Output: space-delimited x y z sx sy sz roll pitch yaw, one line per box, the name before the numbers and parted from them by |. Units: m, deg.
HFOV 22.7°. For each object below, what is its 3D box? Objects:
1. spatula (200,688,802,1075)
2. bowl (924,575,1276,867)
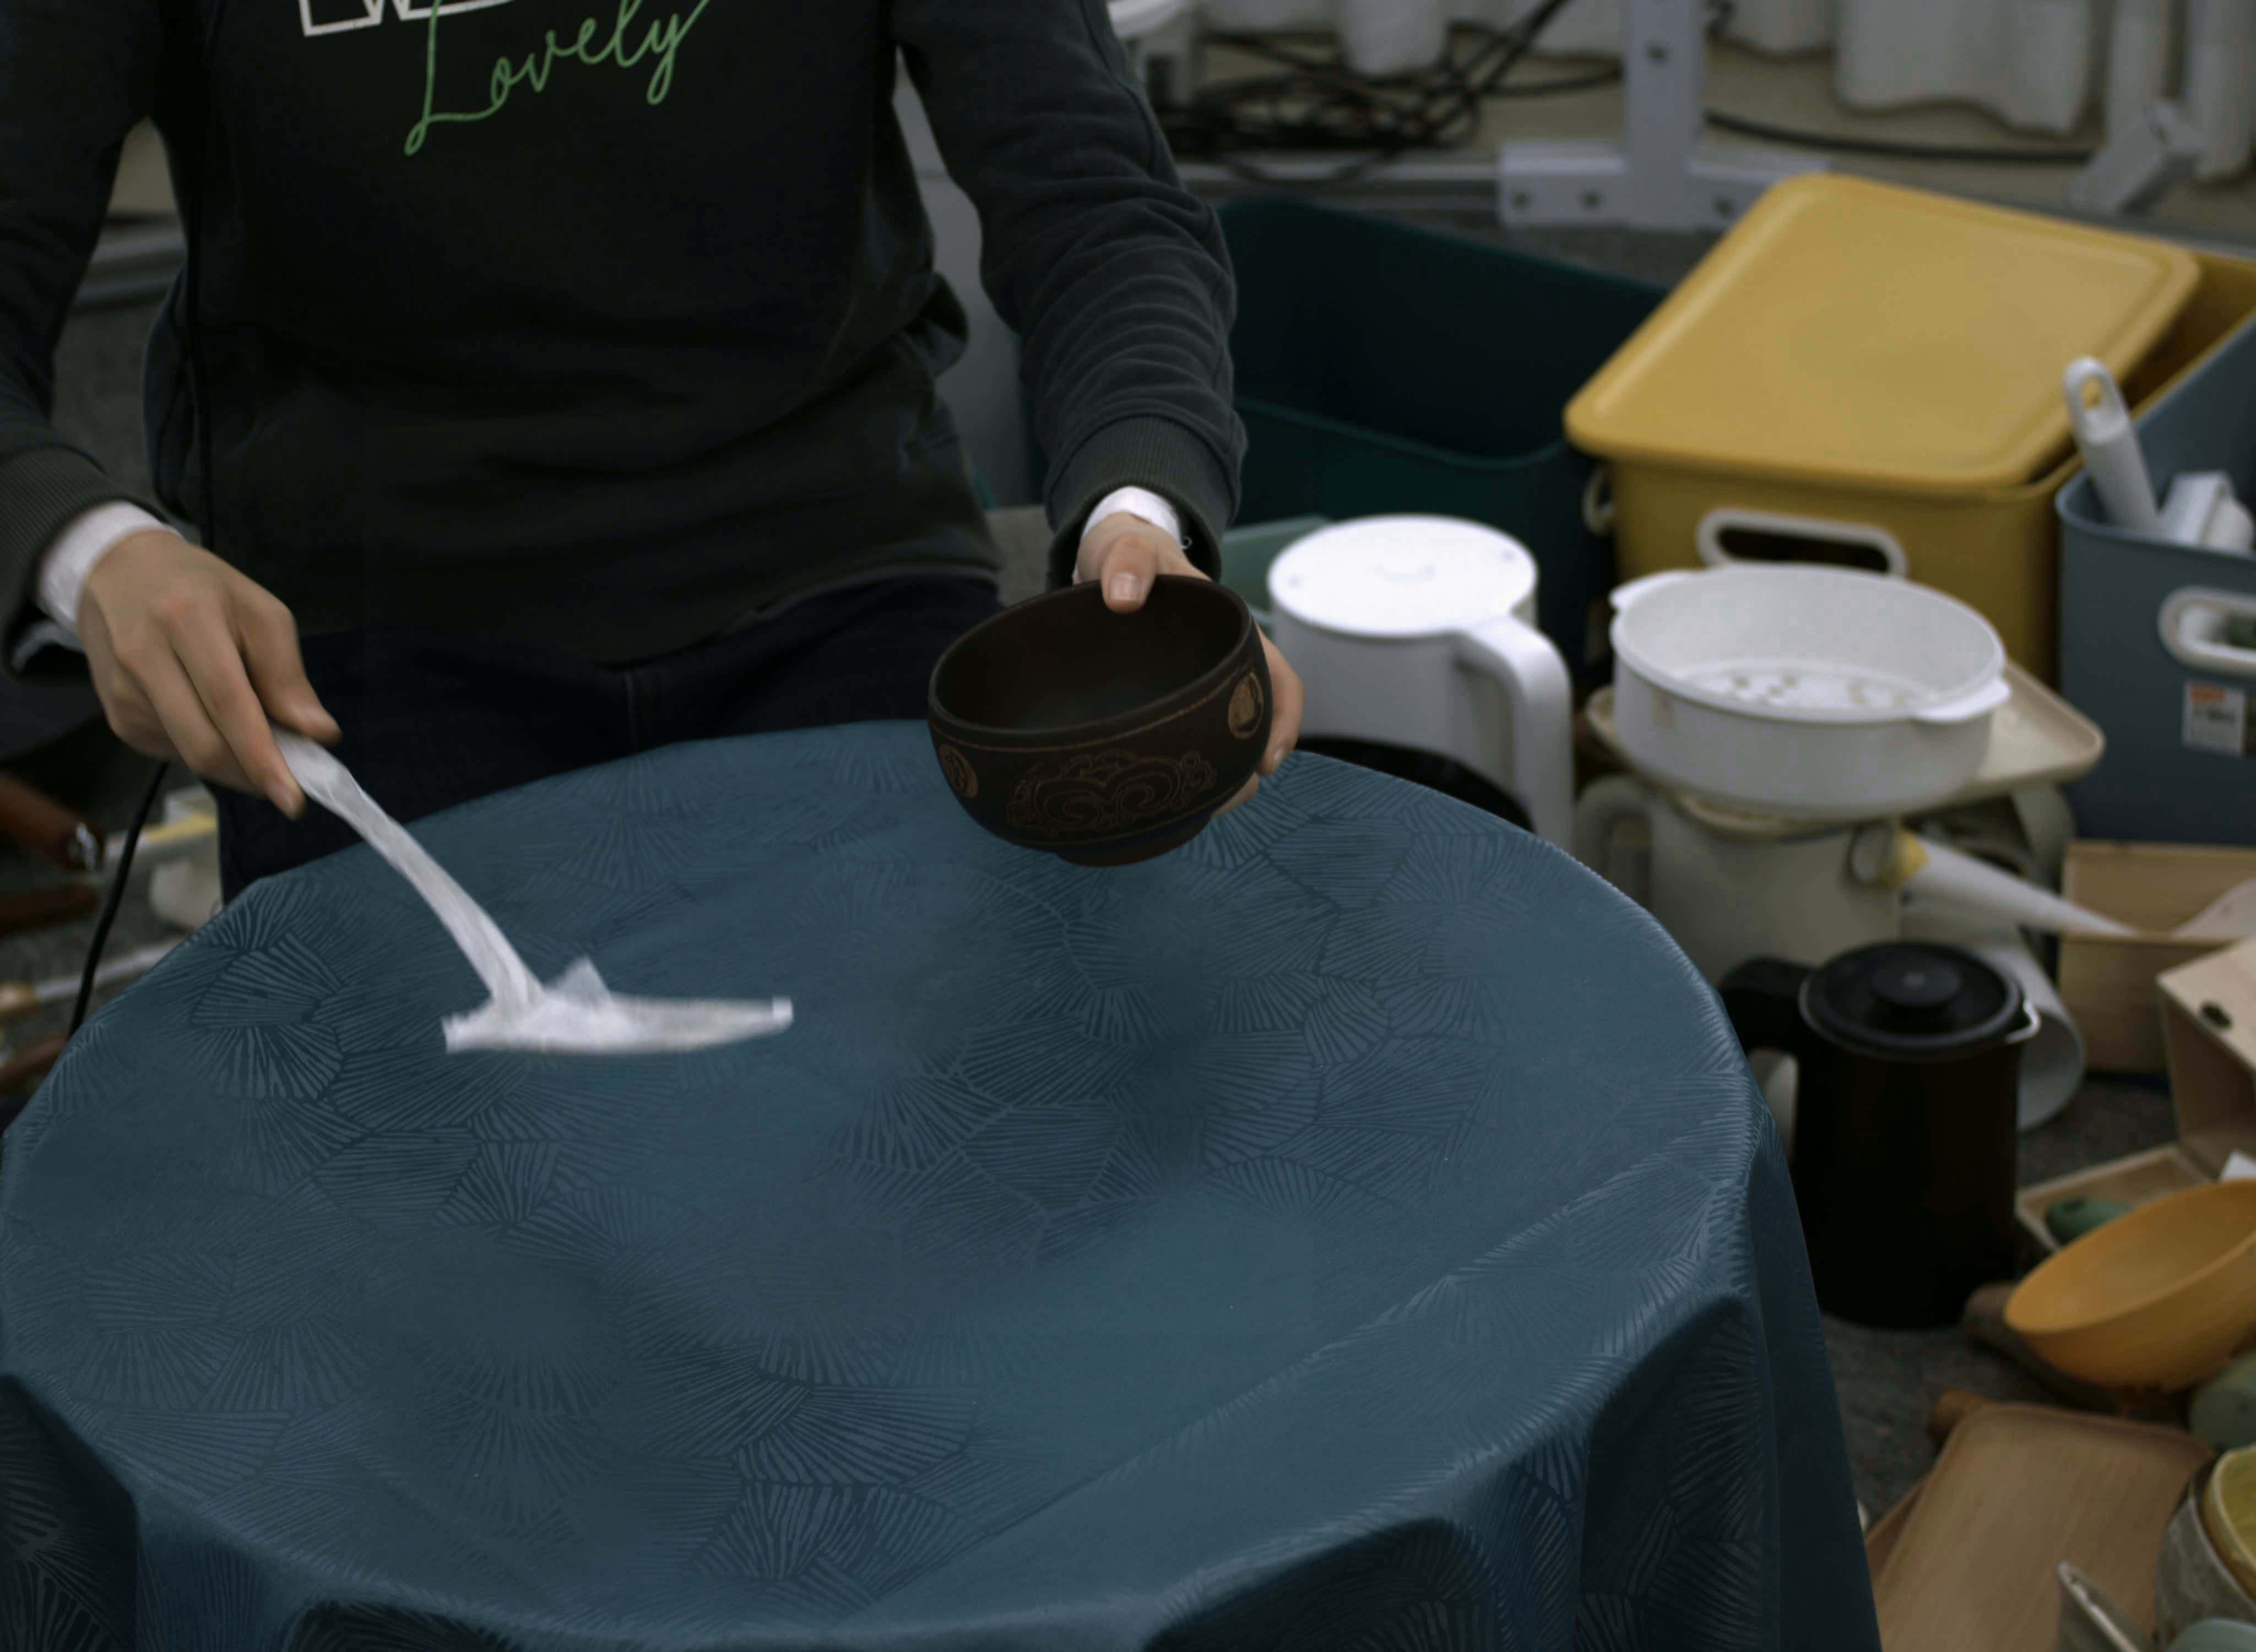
spatula | -0.228 0.012 1.835 0.099 0.044 0.366 -7 28 -32
bowl | -0.006 -0.030 1.904 0.117 0.069 0.120 -10 25 5
